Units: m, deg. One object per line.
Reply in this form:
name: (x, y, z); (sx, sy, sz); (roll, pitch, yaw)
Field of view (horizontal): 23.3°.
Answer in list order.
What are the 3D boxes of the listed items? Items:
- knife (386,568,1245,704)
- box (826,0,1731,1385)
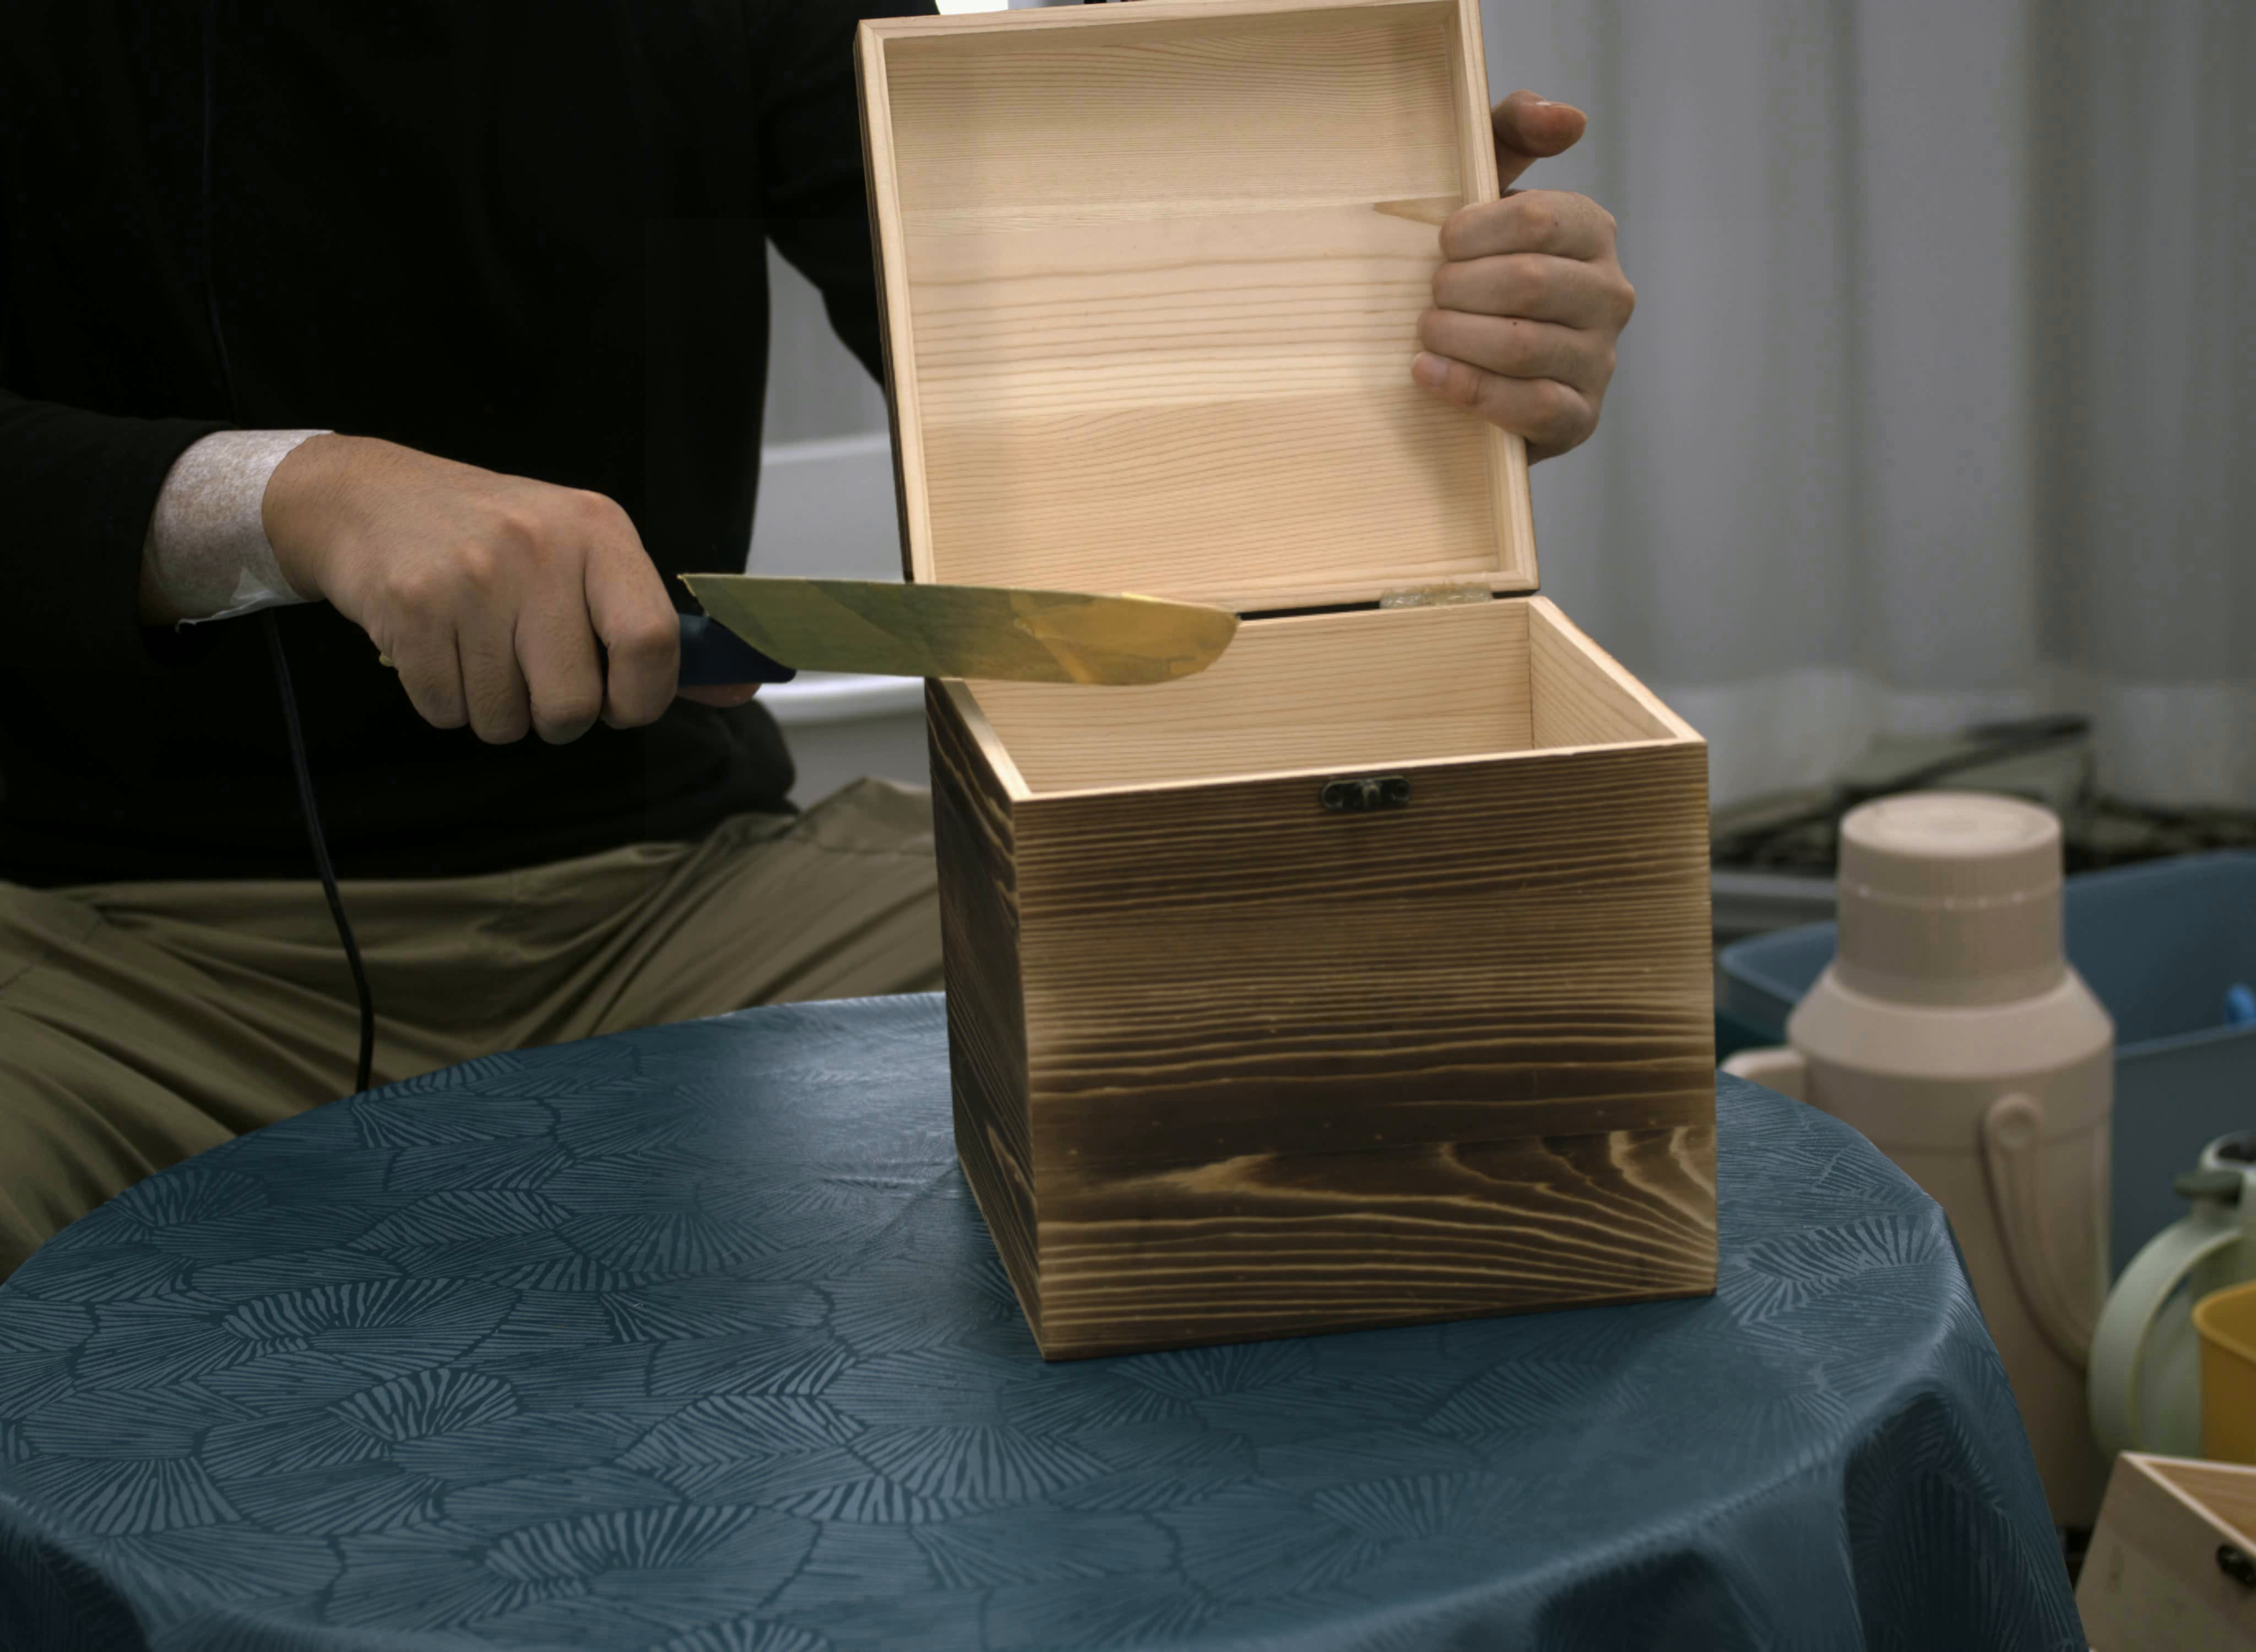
knife: (-0.100, -0.058, 1.658); (0.289, 0.027, 0.080); (-1, -25, 21)
box: (0.038, -0.063, 1.685); (0.208, 0.374, 0.324); (-6, 13, -8)
